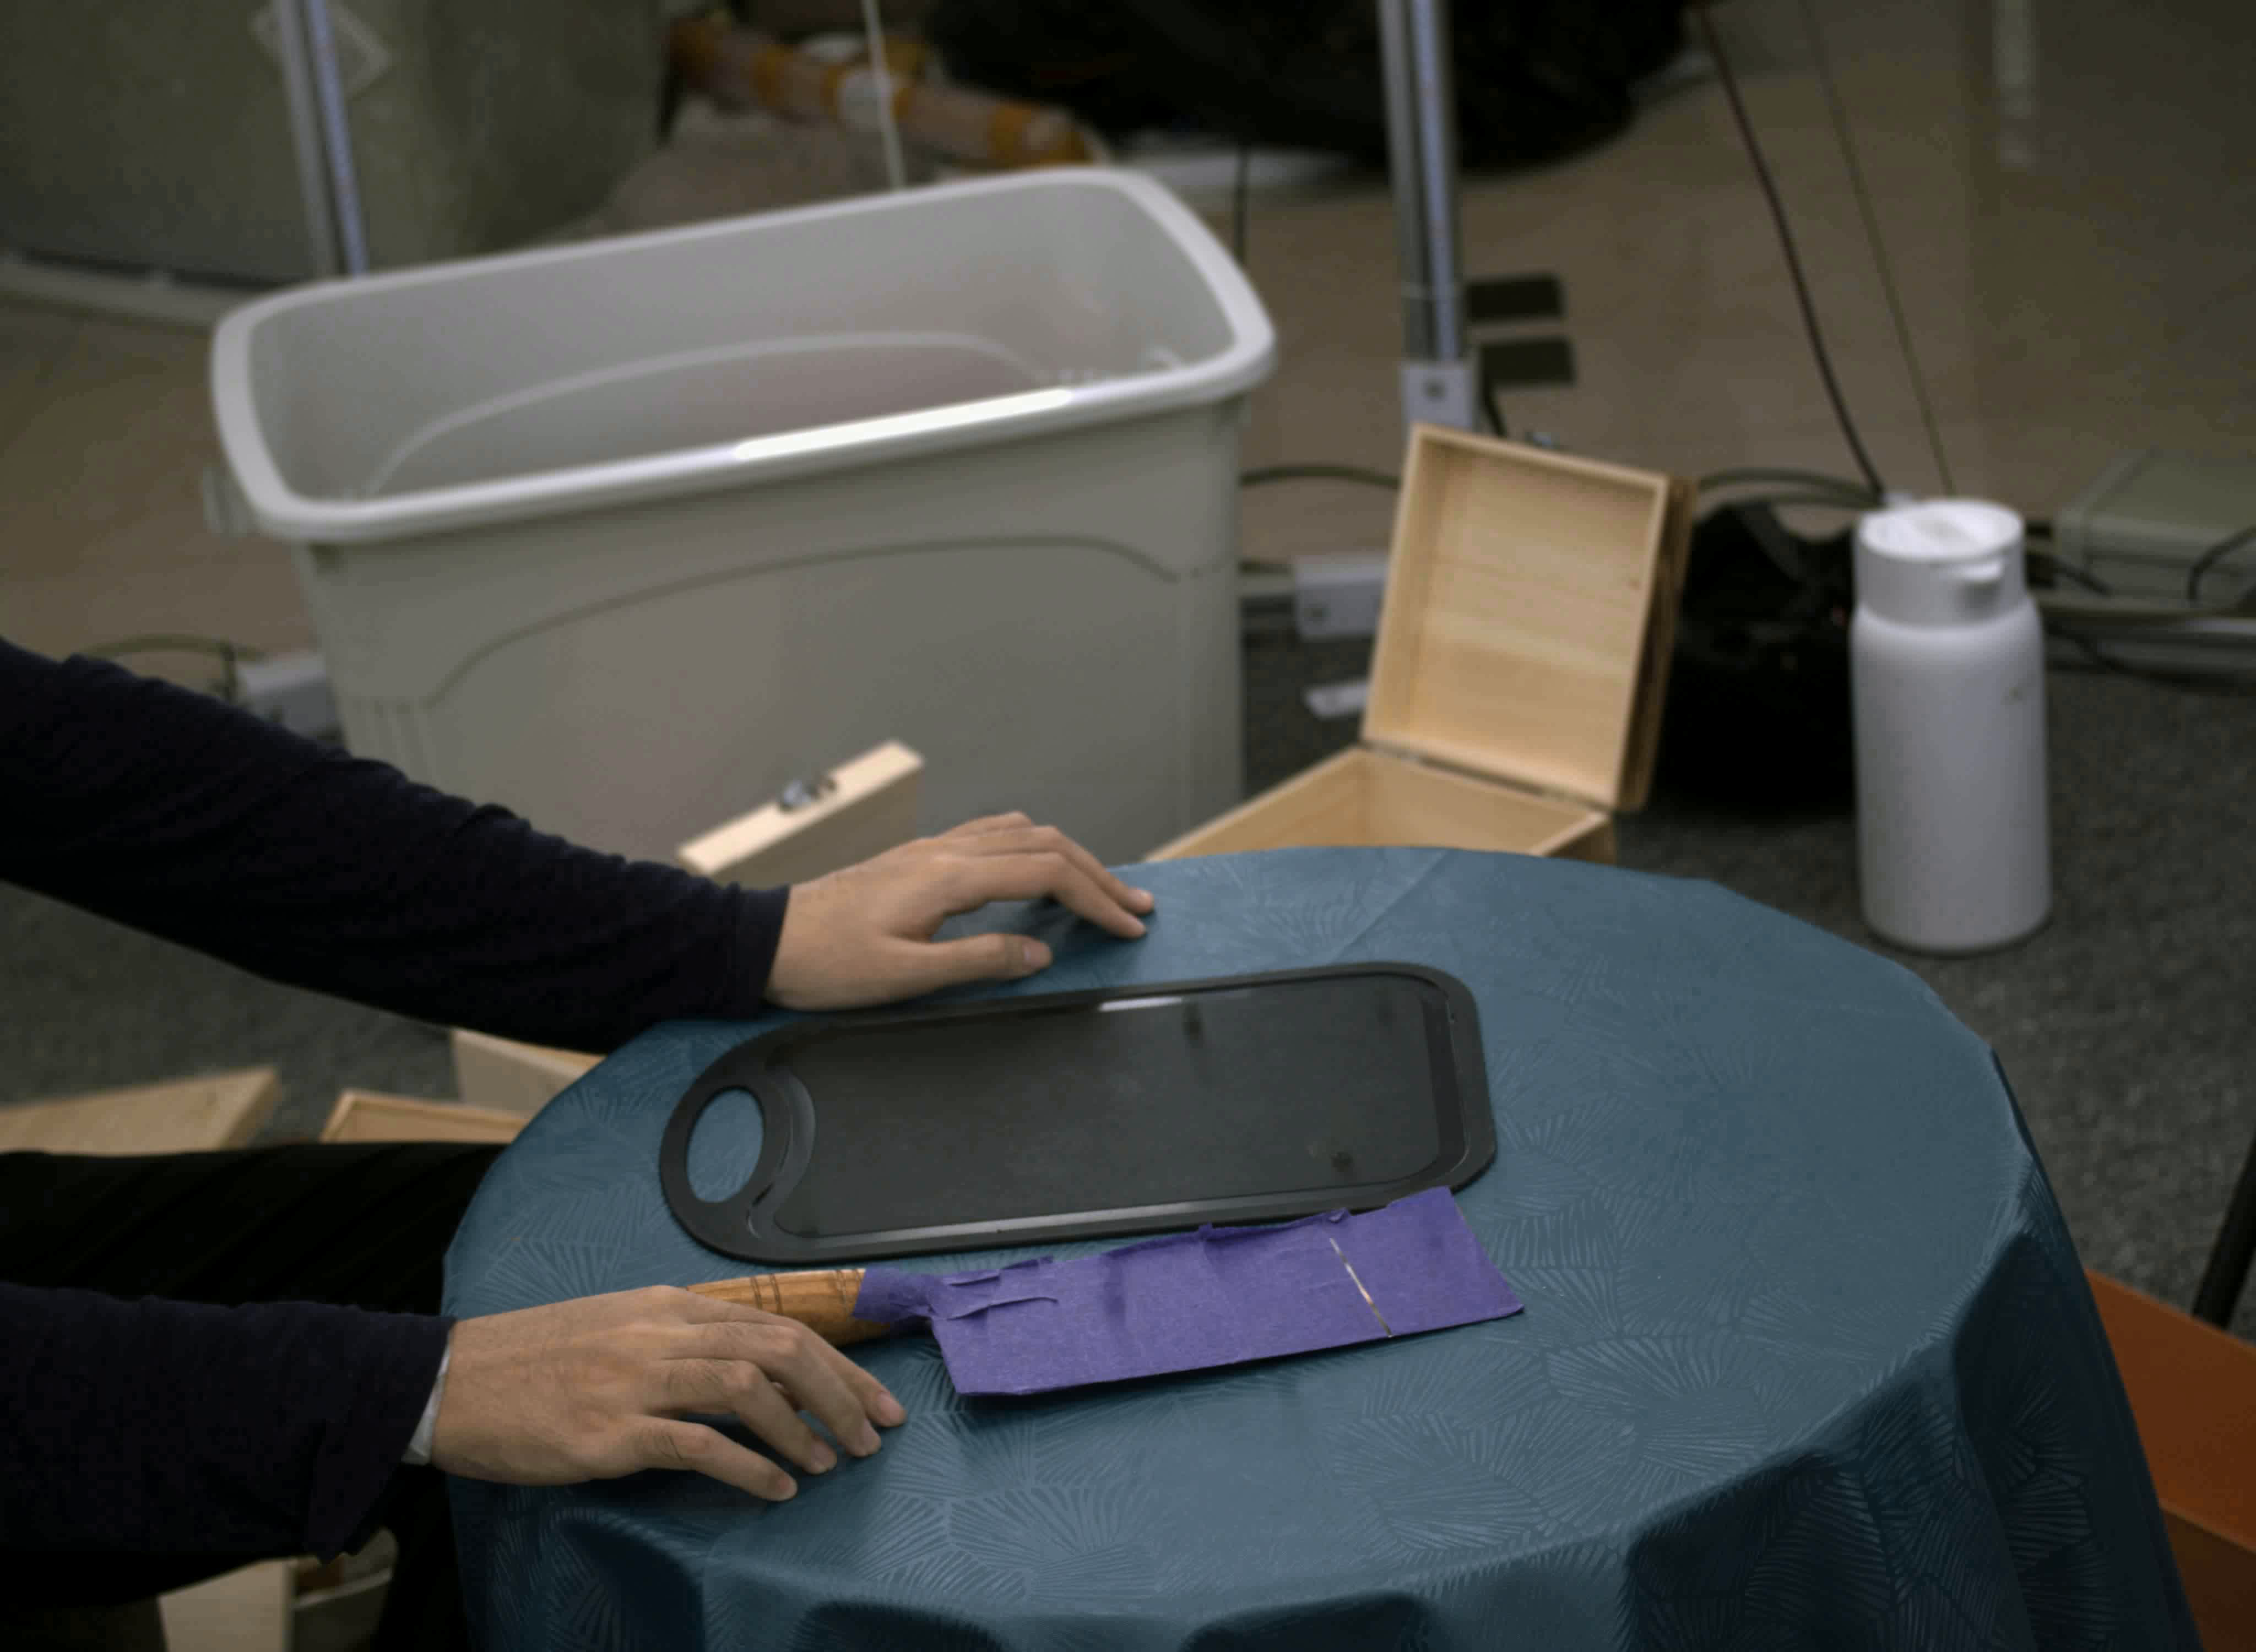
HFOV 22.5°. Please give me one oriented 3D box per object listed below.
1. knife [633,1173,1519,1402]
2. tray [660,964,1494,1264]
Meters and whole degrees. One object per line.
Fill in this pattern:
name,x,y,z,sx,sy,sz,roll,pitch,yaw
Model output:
knife,-0.018,0.173,2.049,0.314,0.033,0.102,-10,25,-9
tray,-0.022,0.110,2.212,0.325,0.010,0.208,-5,24,3
